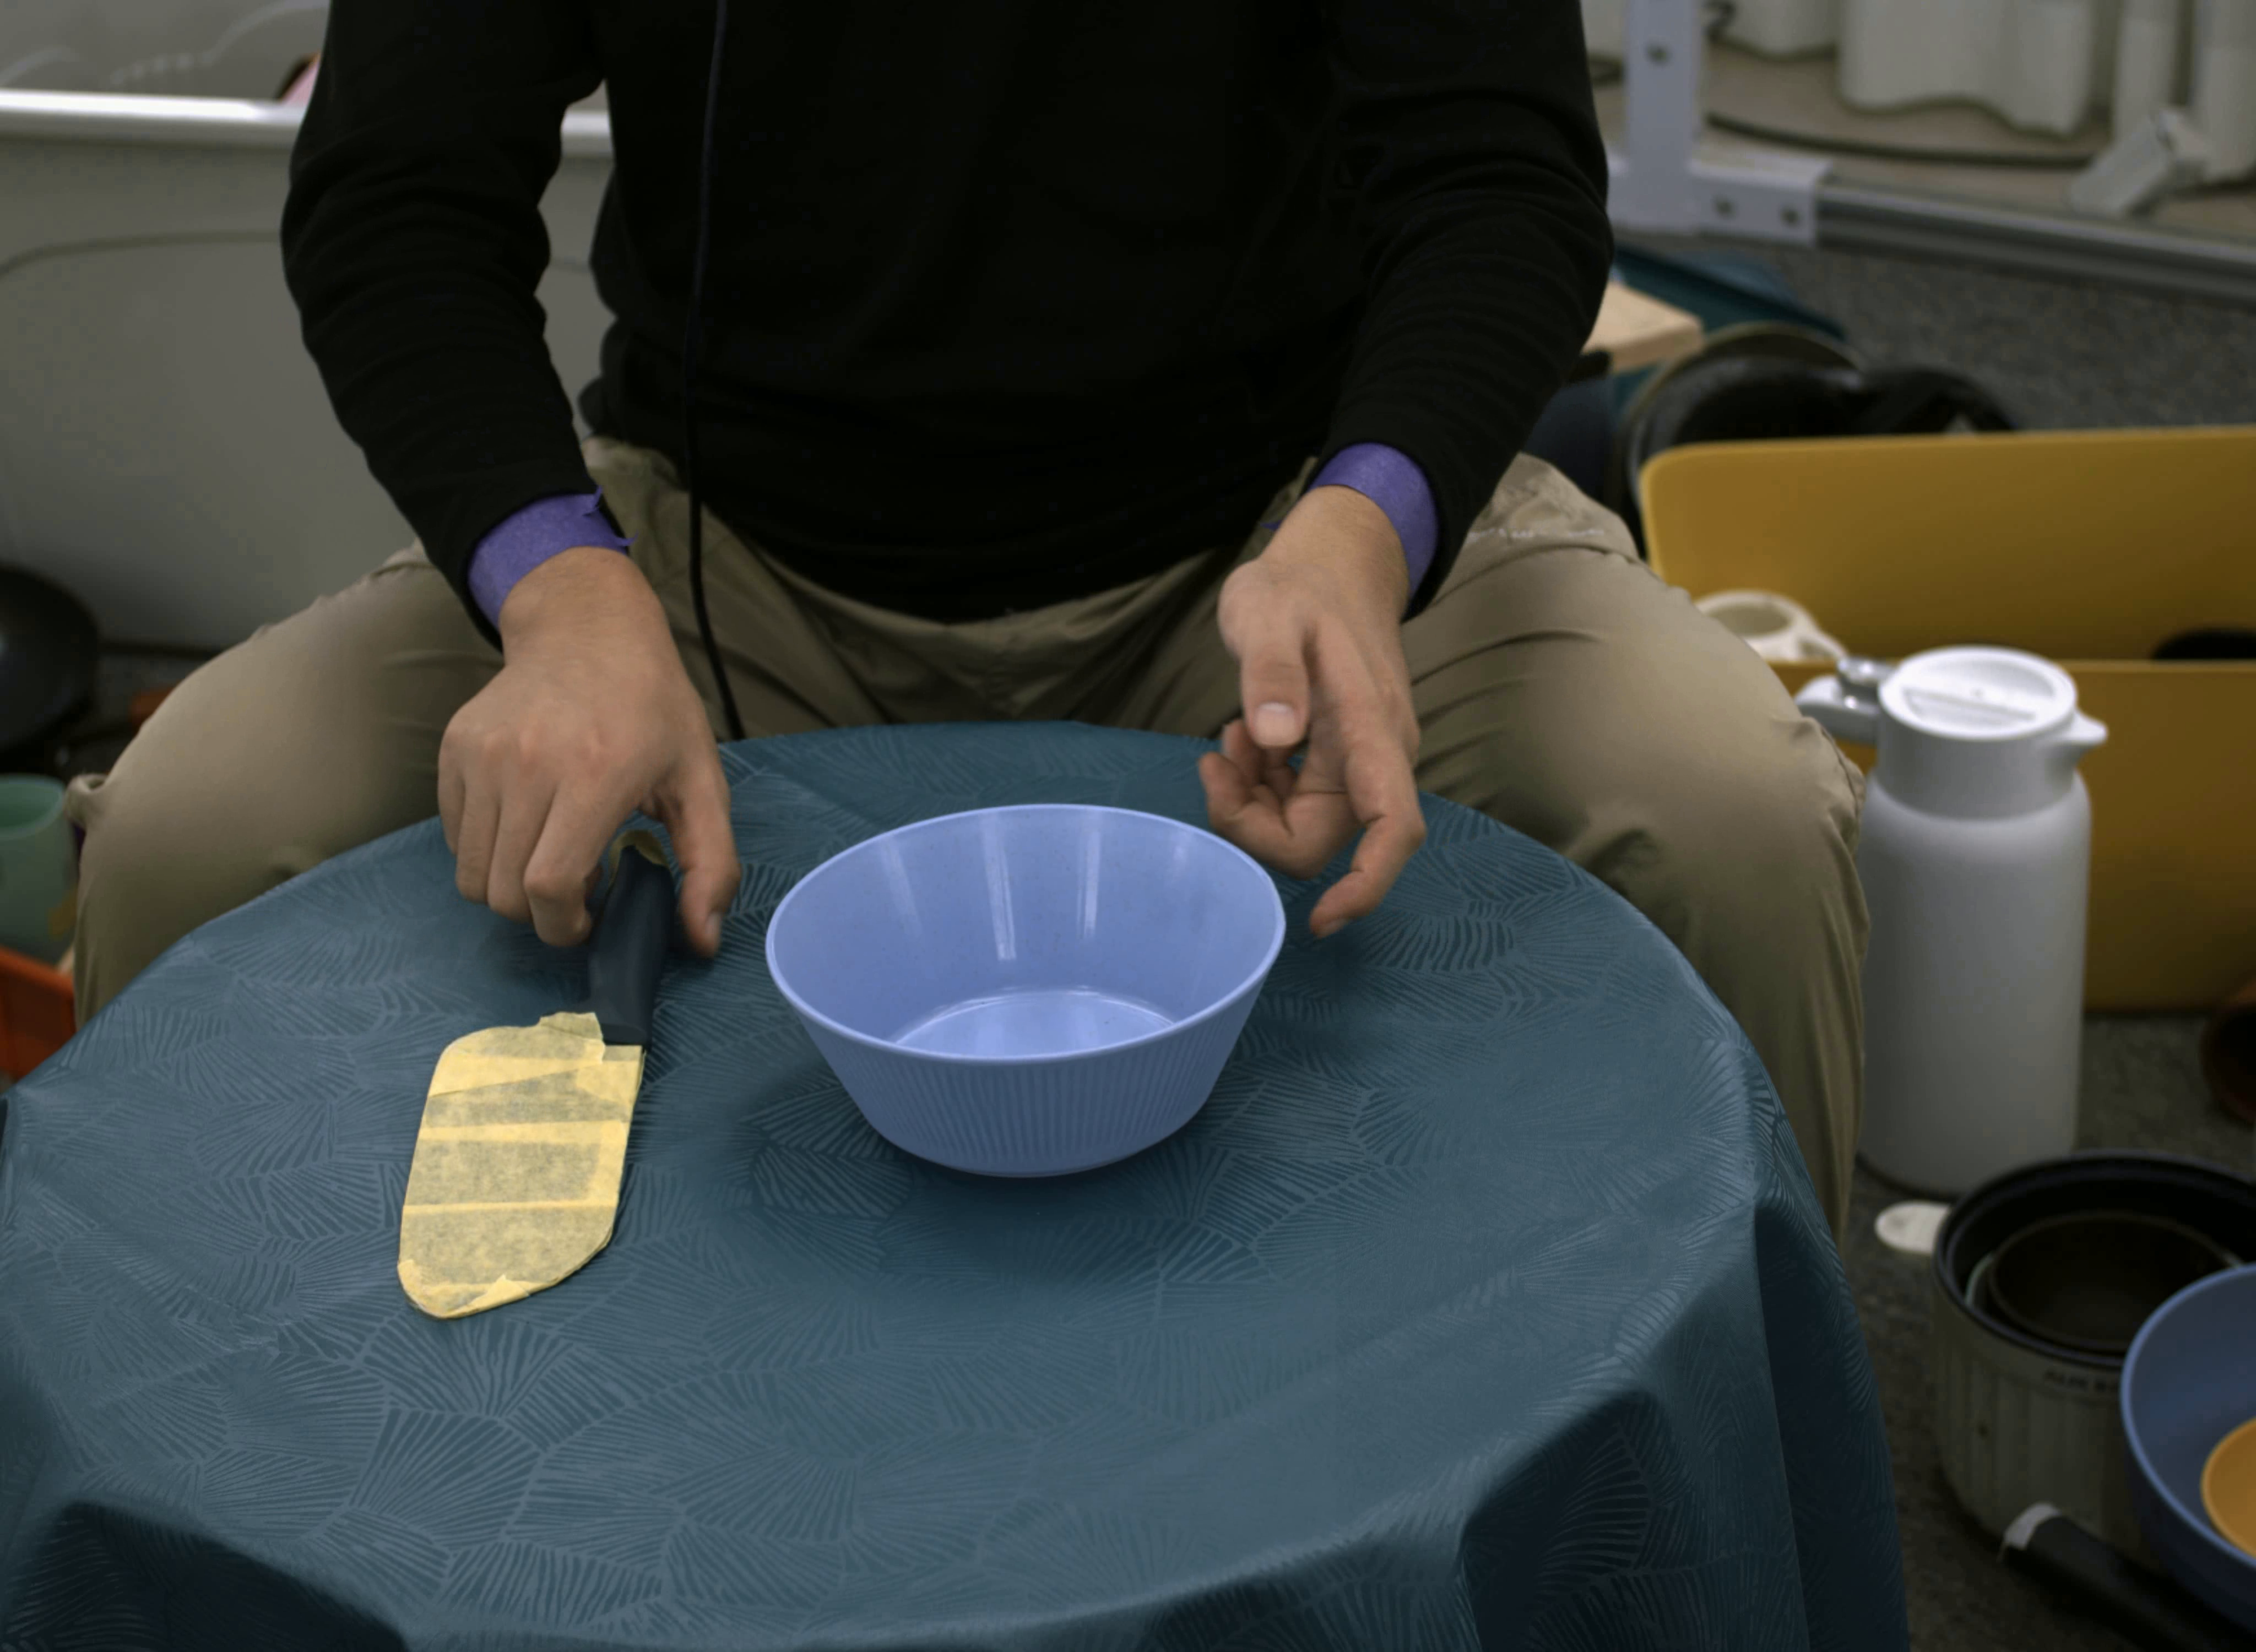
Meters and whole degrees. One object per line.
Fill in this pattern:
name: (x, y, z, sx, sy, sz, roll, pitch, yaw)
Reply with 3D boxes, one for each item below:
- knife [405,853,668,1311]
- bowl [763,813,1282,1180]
knife: (-0.201, 0.086, 1.932, 0.080, 0.027, 0.294, 2, 29, 4)
bowl: (-0.034, 0.063, 1.902, 0.175, 0.069, 0.179, -3, 27, 2)
